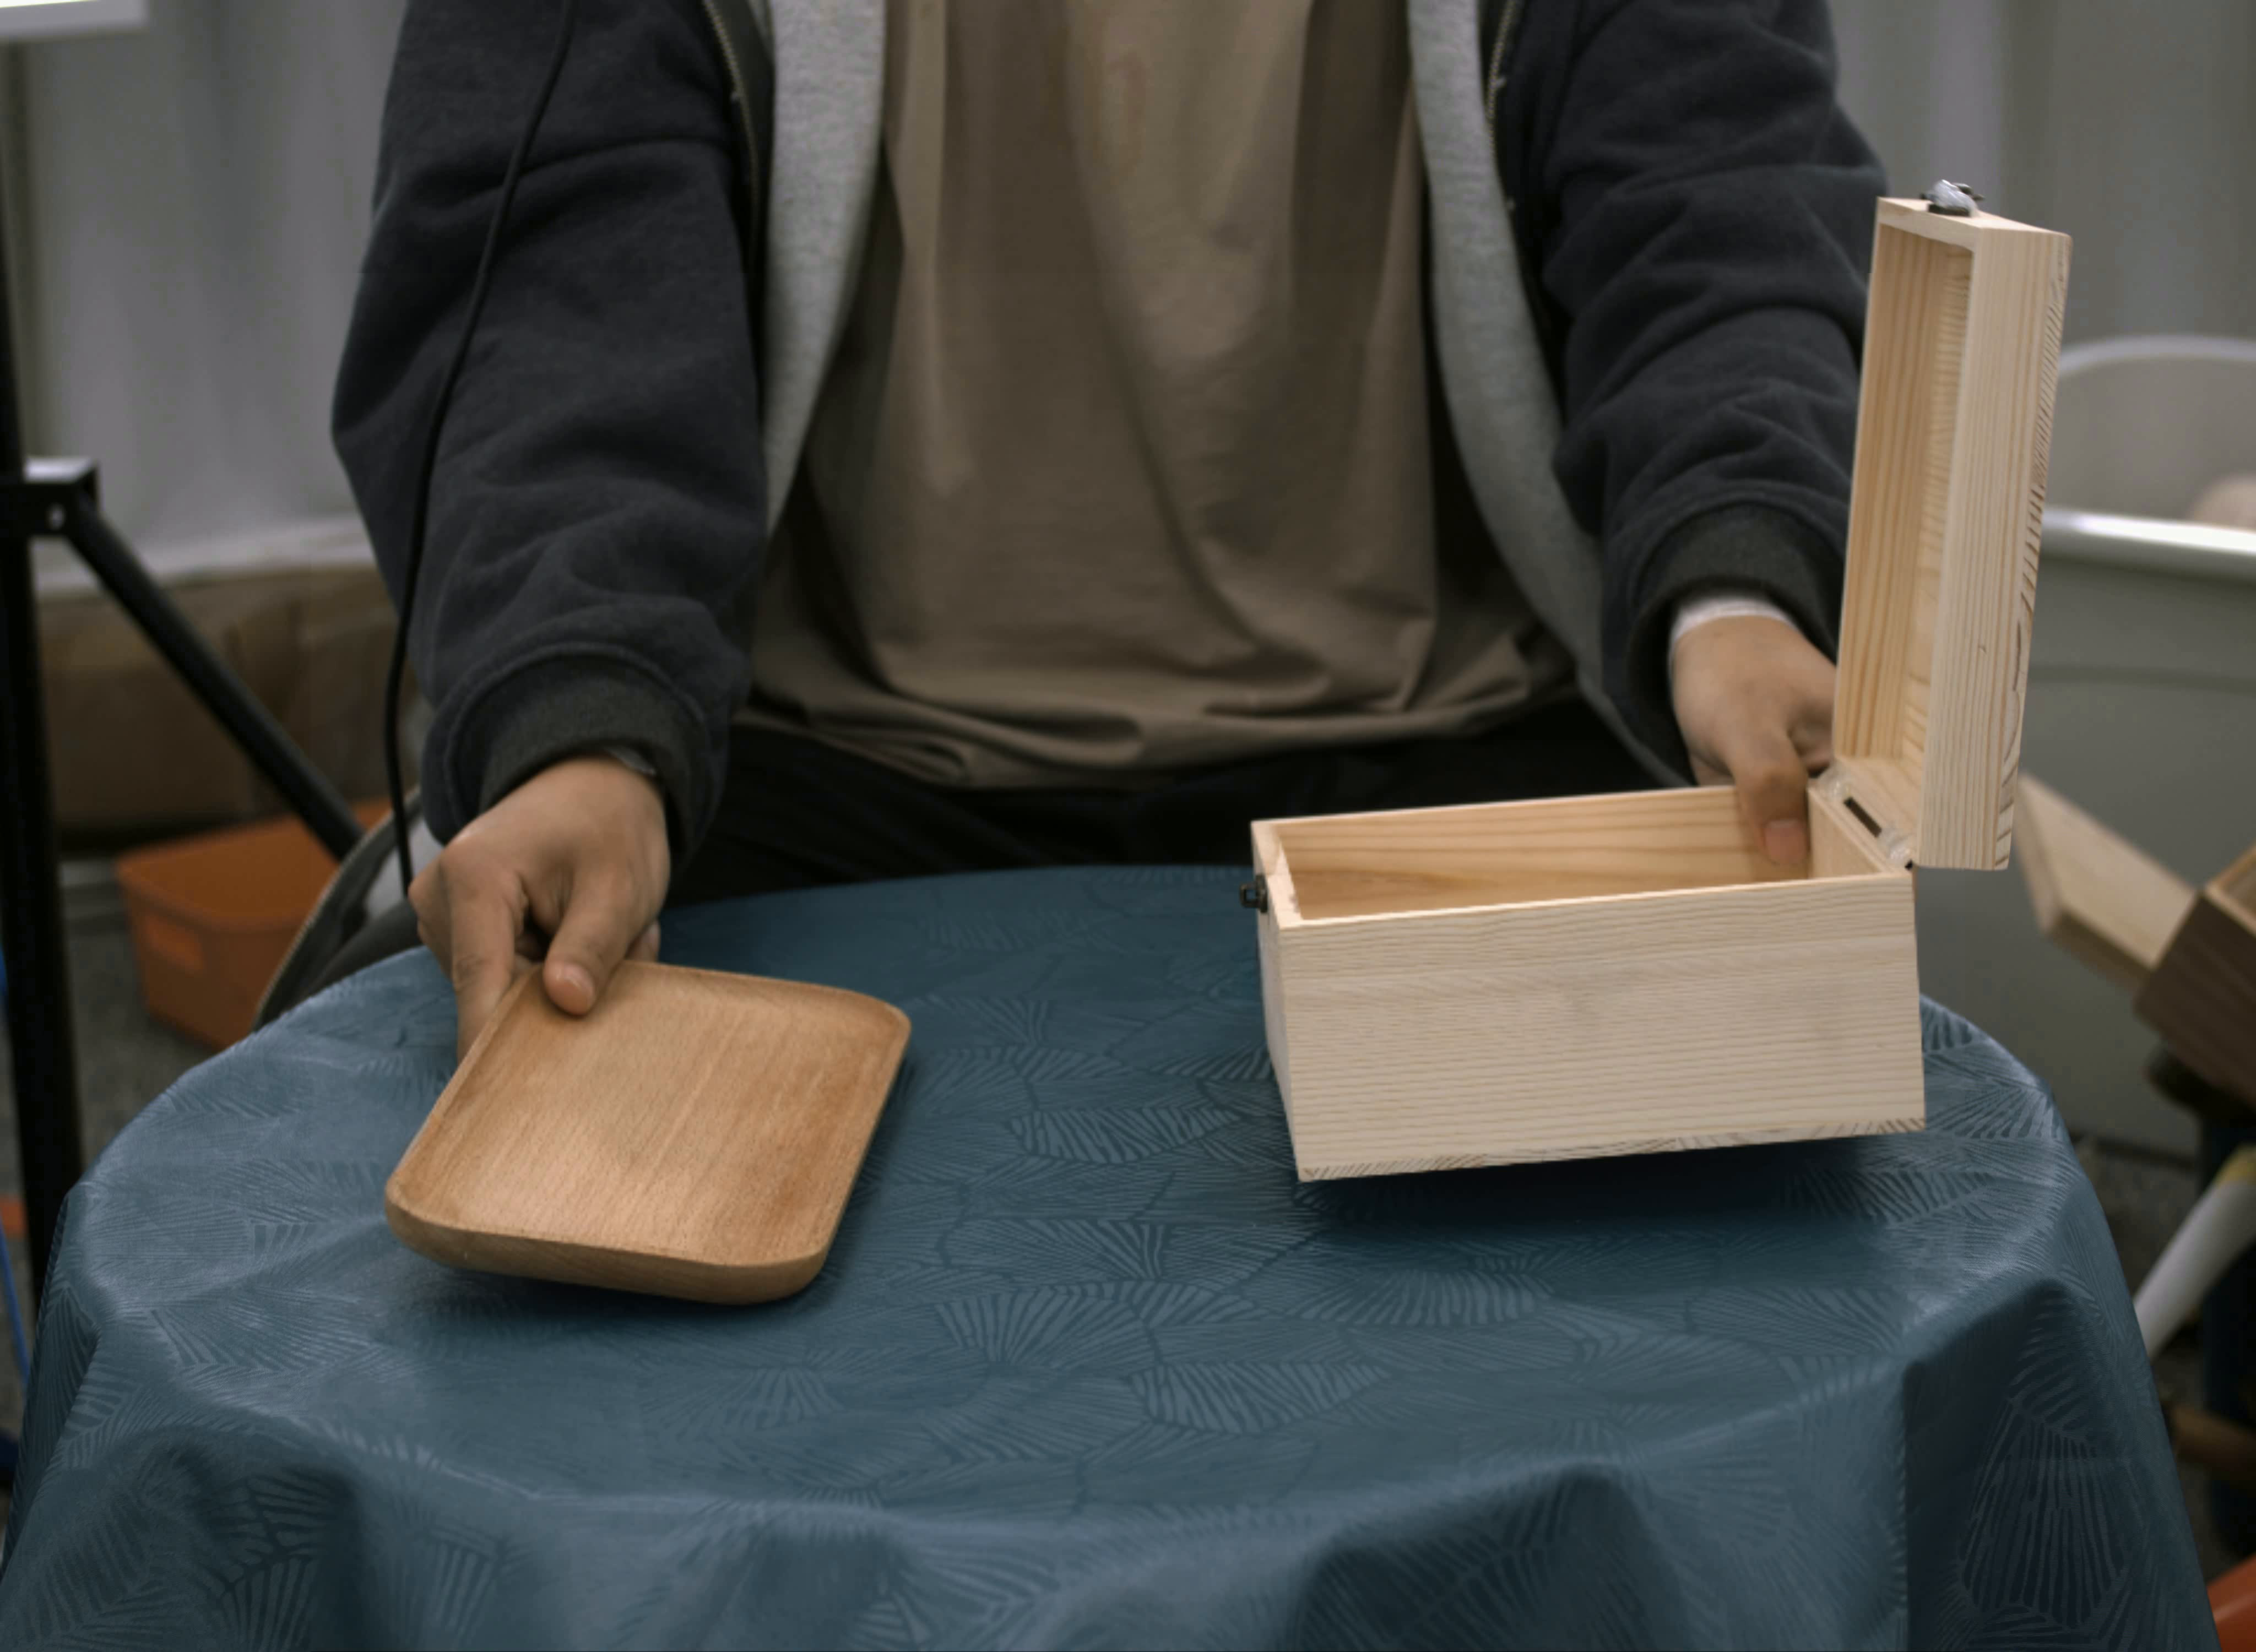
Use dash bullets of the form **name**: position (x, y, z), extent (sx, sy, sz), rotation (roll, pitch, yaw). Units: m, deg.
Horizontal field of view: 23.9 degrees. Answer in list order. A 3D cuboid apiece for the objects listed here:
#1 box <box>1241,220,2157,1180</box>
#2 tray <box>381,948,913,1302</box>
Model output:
- **box**: position (0.162, -0.043, 1.572), extent (0.264, 0.254, 0.182), rotation (-4, 6, 0)
- **tray**: position (-0.140, 0.087, 1.595), extent (0.130, 0.023, 0.250), rotation (10, 16, 3)
